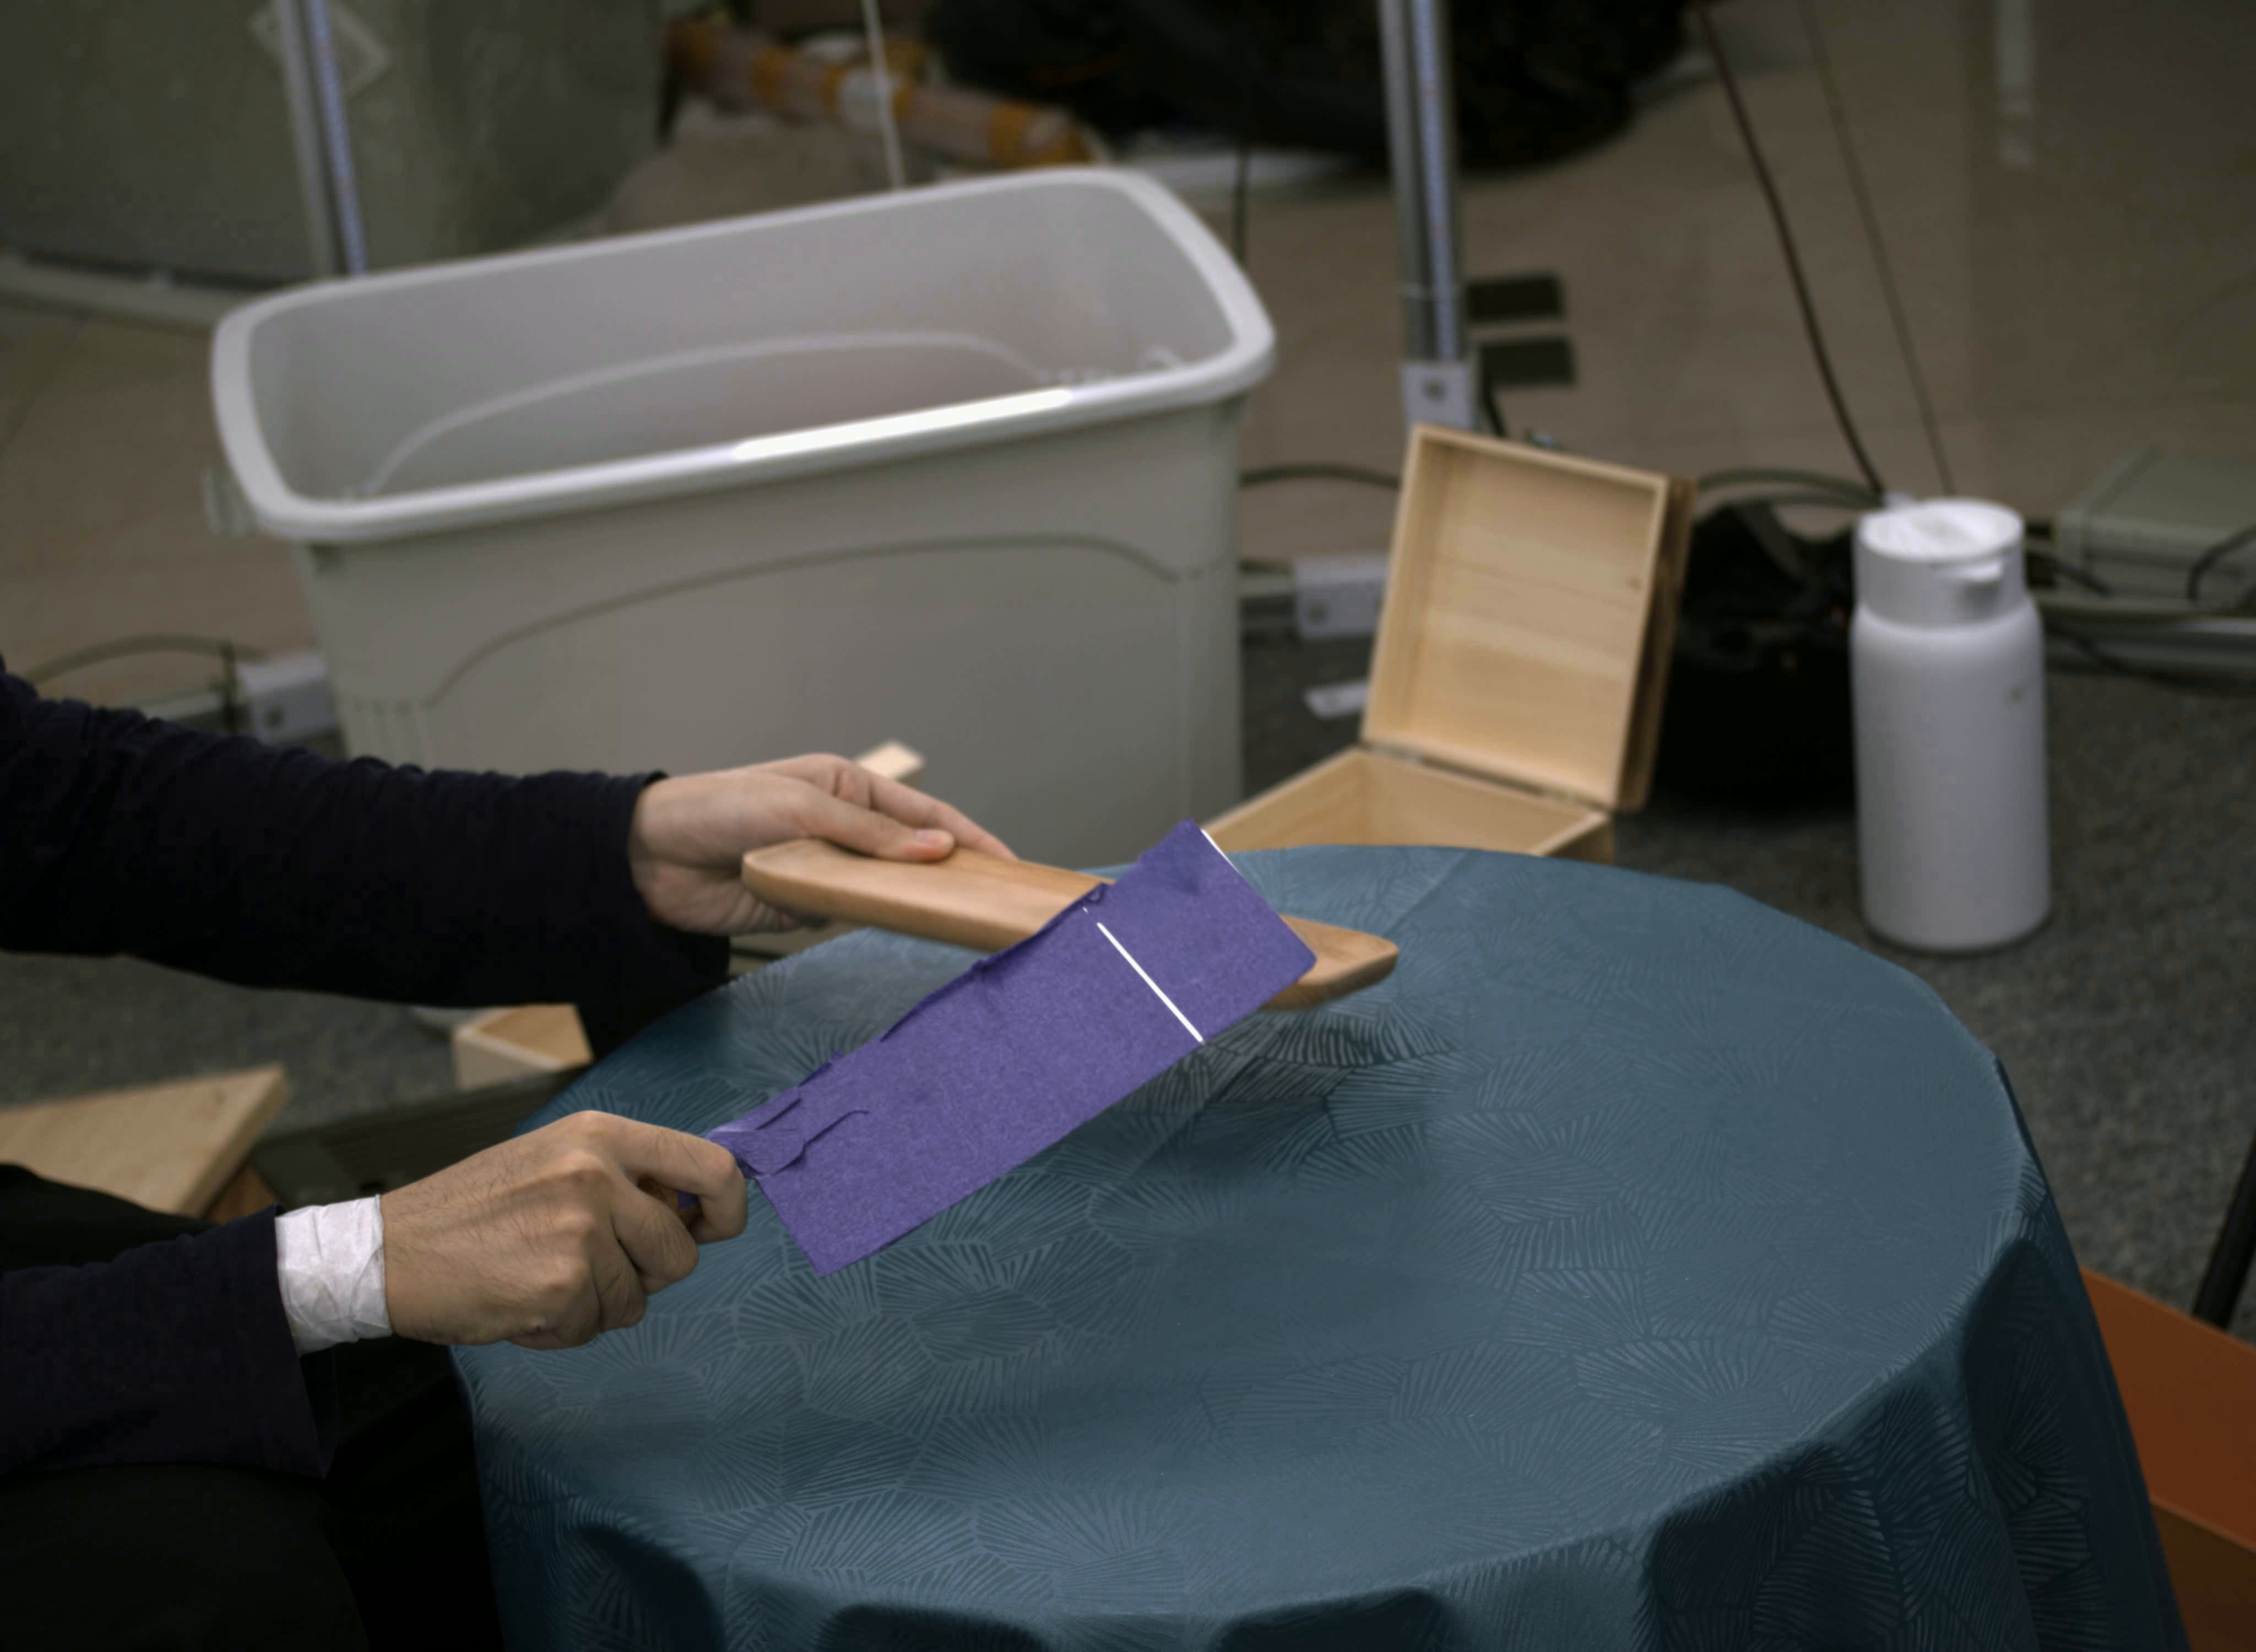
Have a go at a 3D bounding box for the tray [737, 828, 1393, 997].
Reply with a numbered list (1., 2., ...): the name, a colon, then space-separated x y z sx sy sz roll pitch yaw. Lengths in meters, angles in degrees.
1. tray: -0.026 0.033 2.230 0.249 0.023 0.130 11 6 25

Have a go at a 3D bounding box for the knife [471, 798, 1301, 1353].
1. knife: -0.084 0.102 1.998 0.314 0.033 0.102 -35 45 -5
